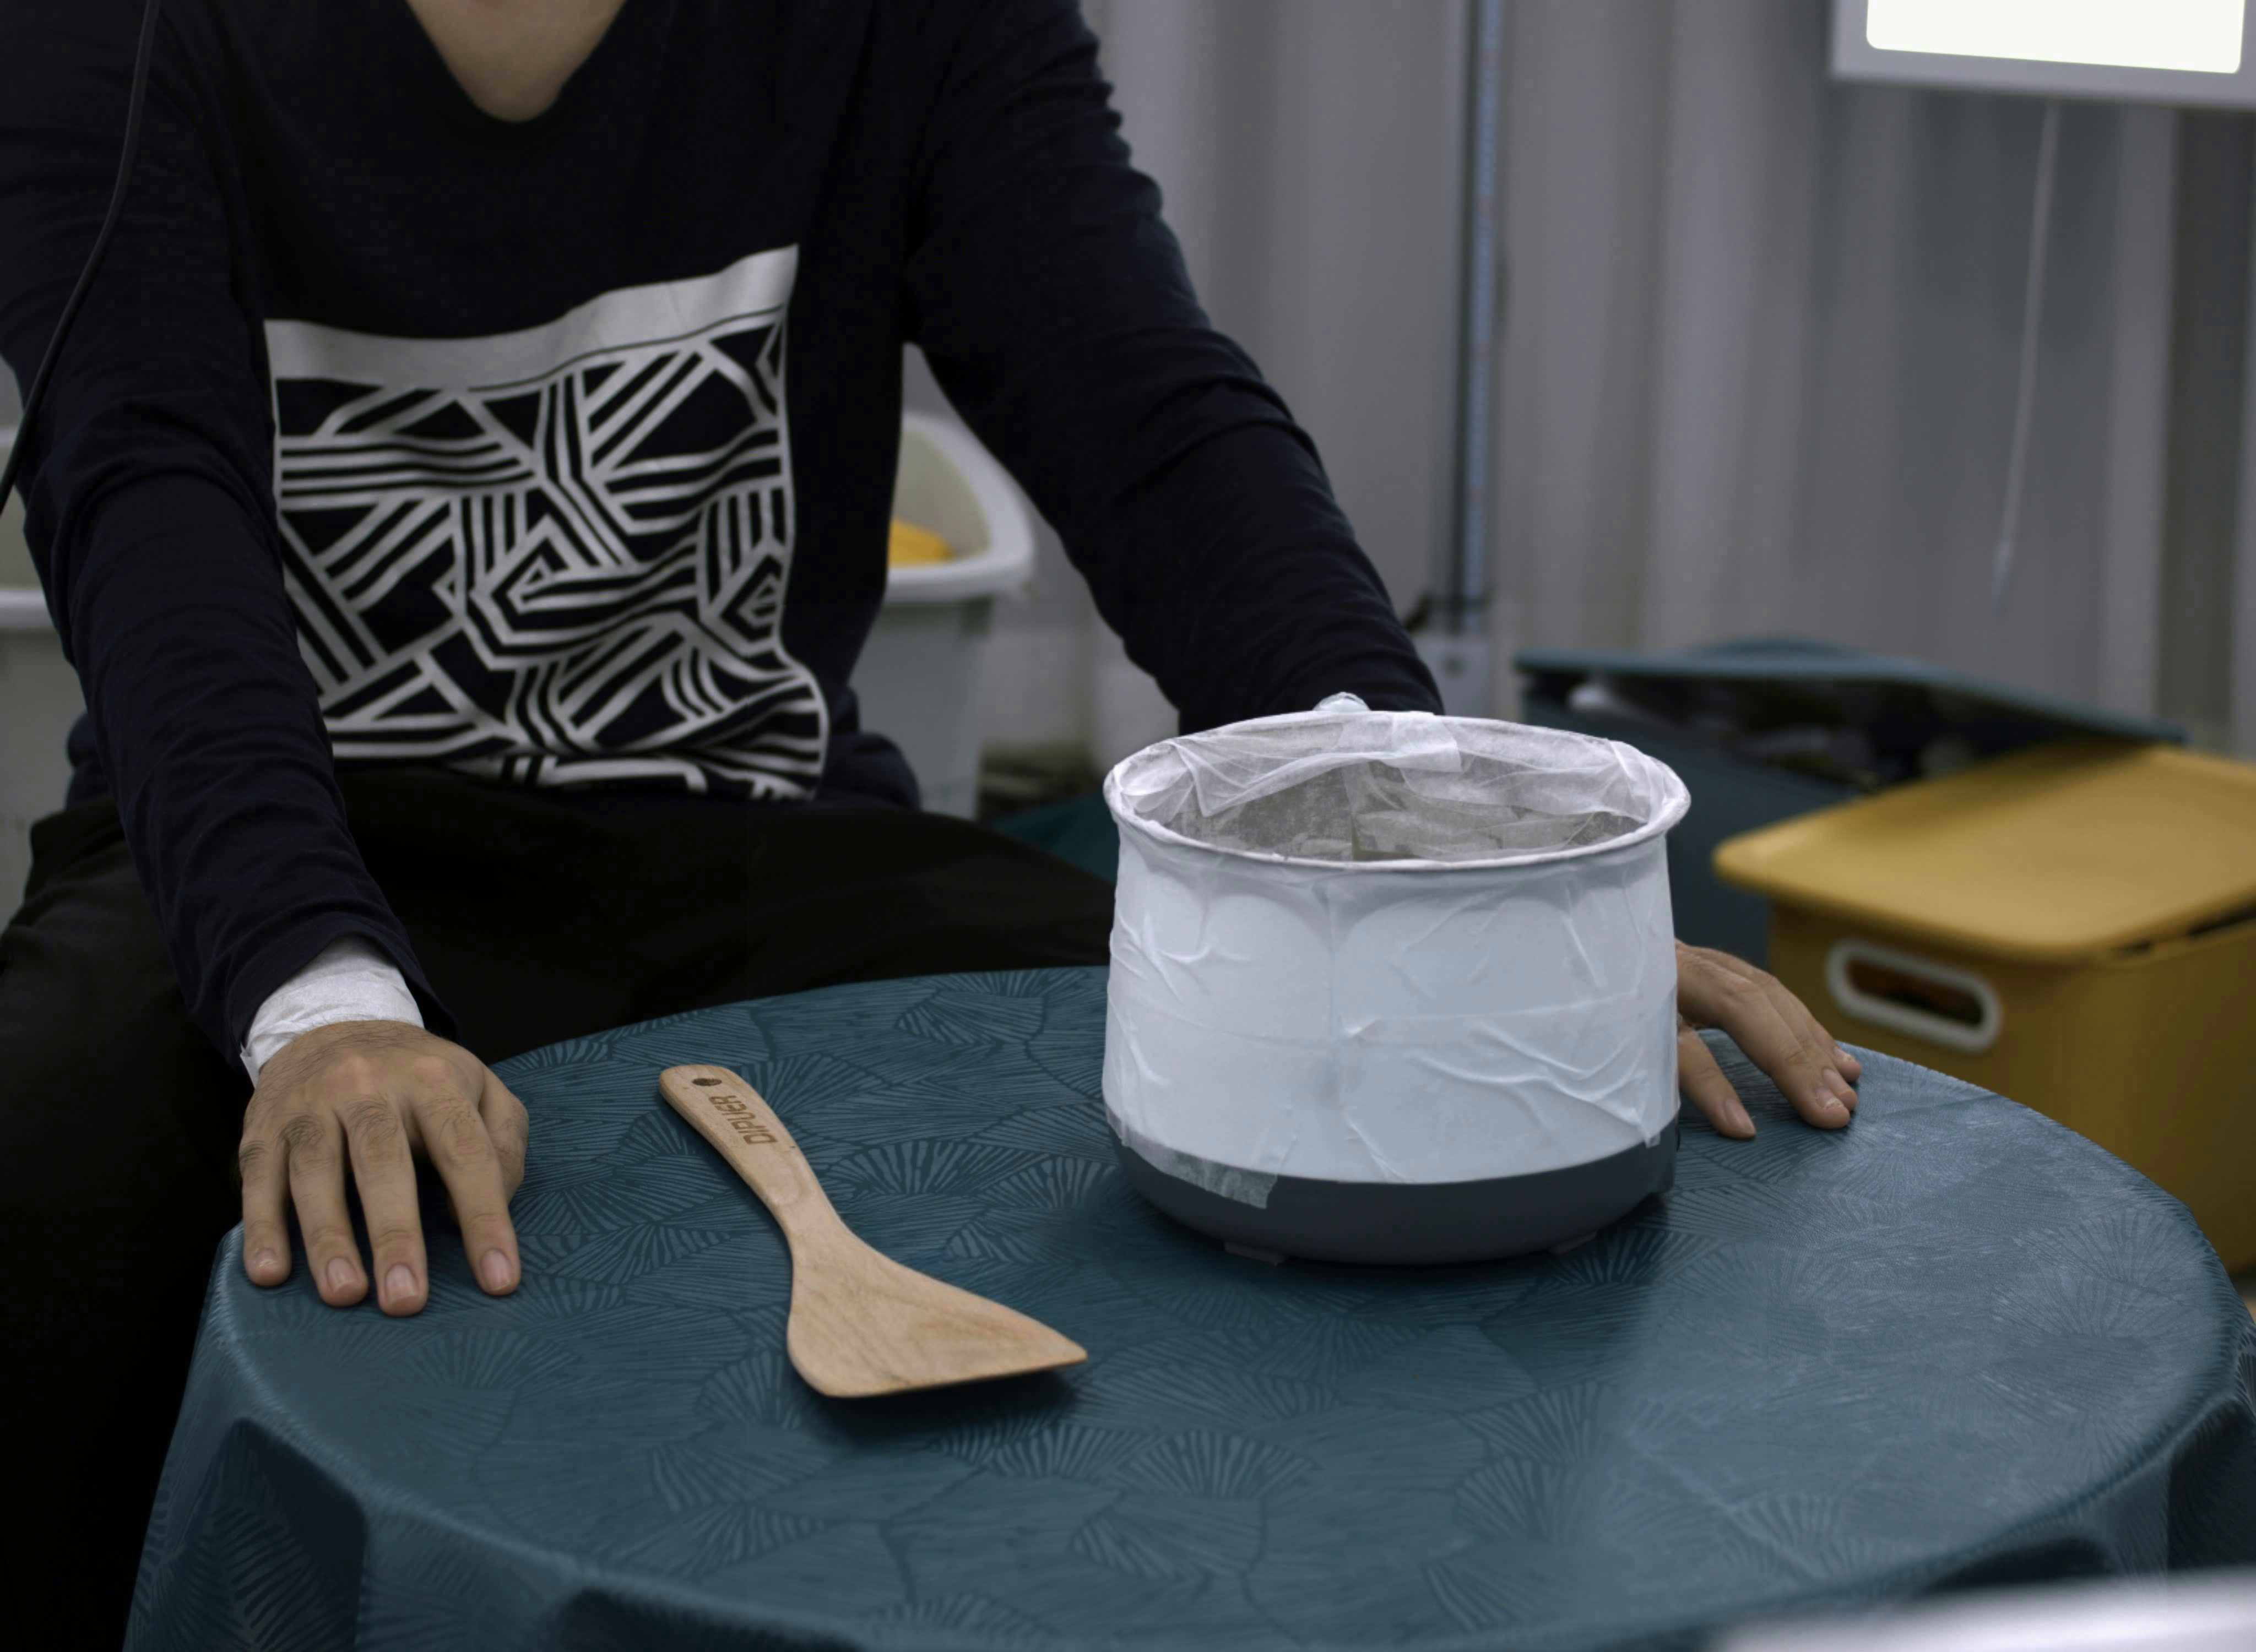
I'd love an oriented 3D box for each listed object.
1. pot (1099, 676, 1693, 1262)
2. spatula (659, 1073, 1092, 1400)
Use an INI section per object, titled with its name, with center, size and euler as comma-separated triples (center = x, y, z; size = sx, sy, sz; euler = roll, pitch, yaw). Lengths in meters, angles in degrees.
[pot]
center = 0.076, 0.039, 1.625
size = 0.178, 0.138, 0.232
euler = -1, 17, -9
[spatula]
center = -0.092, 0.118, 1.572
size = 0.080, 0.016, 0.324
euler = -4, 15, -18
